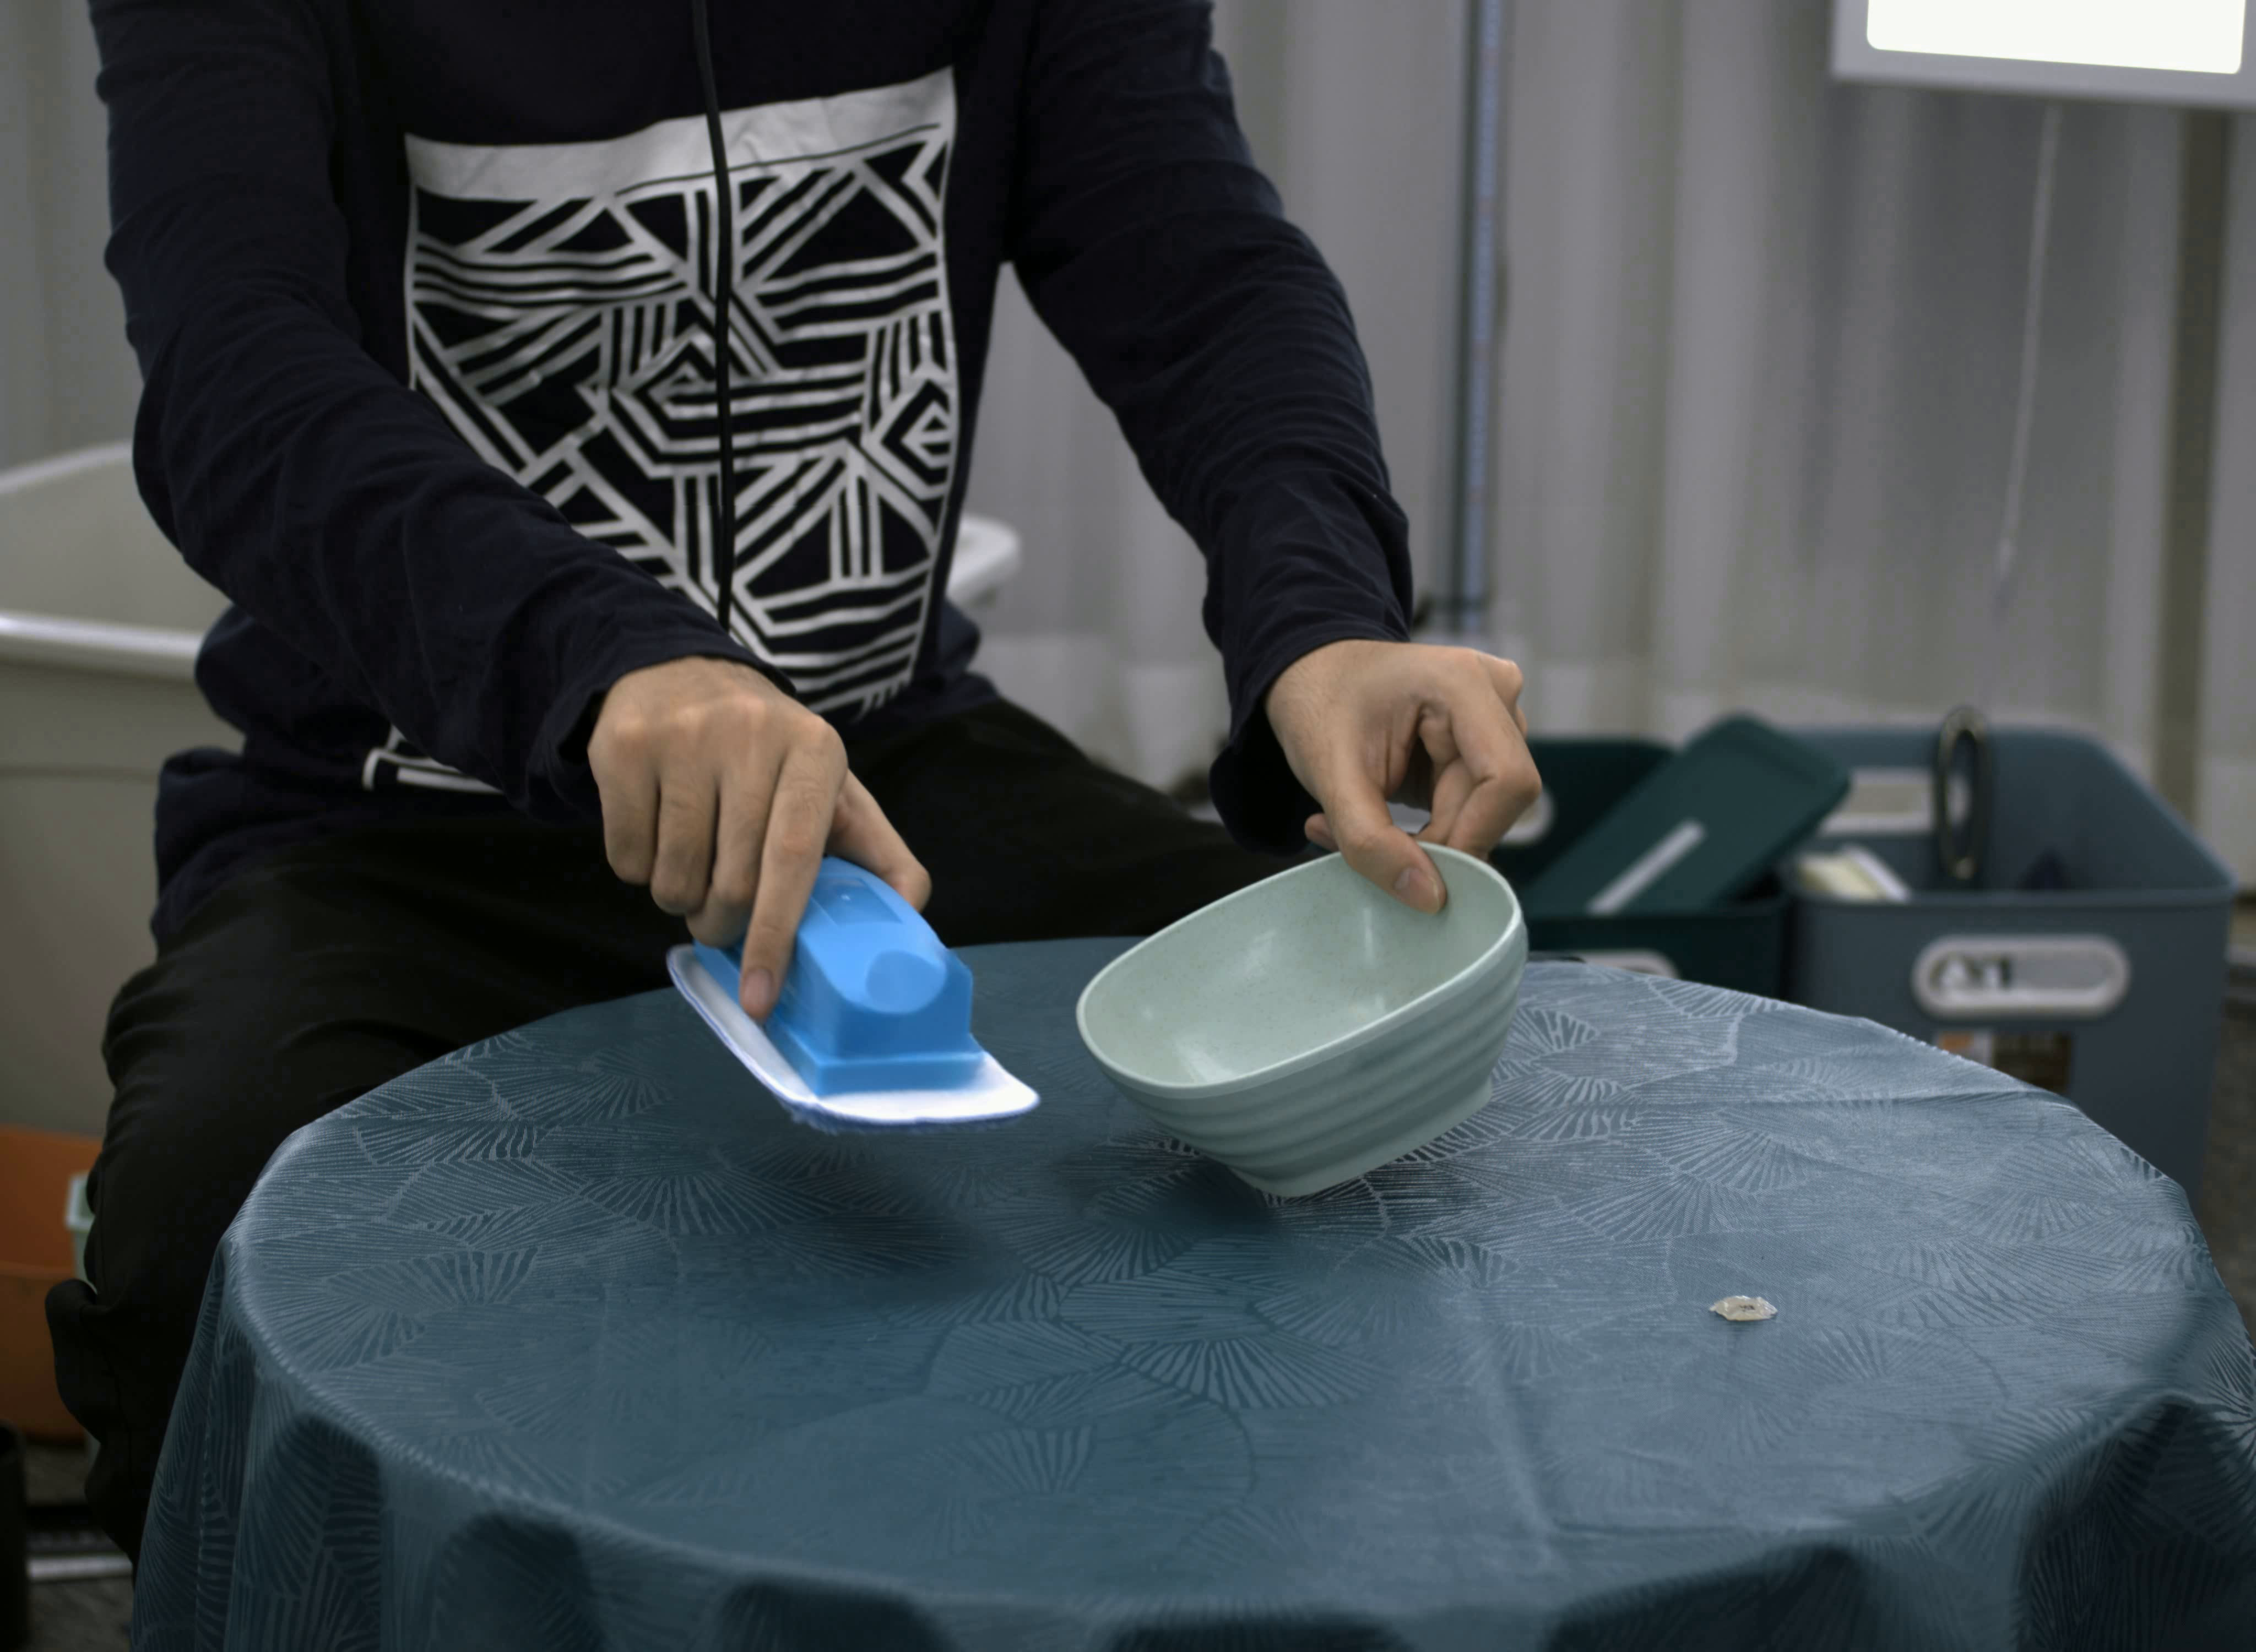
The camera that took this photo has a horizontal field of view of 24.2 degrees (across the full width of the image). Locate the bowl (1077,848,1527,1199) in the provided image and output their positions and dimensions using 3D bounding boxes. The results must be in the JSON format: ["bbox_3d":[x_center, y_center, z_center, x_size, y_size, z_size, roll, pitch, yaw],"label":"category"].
[{"bbox_3d":[0.061,0.067,1.641,0.151,0.059,0.150,-17,21,8],"label":"bowl"}]

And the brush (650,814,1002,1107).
[{"bbox_3d":[-0.089,0.037,1.593,0.084,0.056,0.142,5,20,-23],"label":"brush"}]
